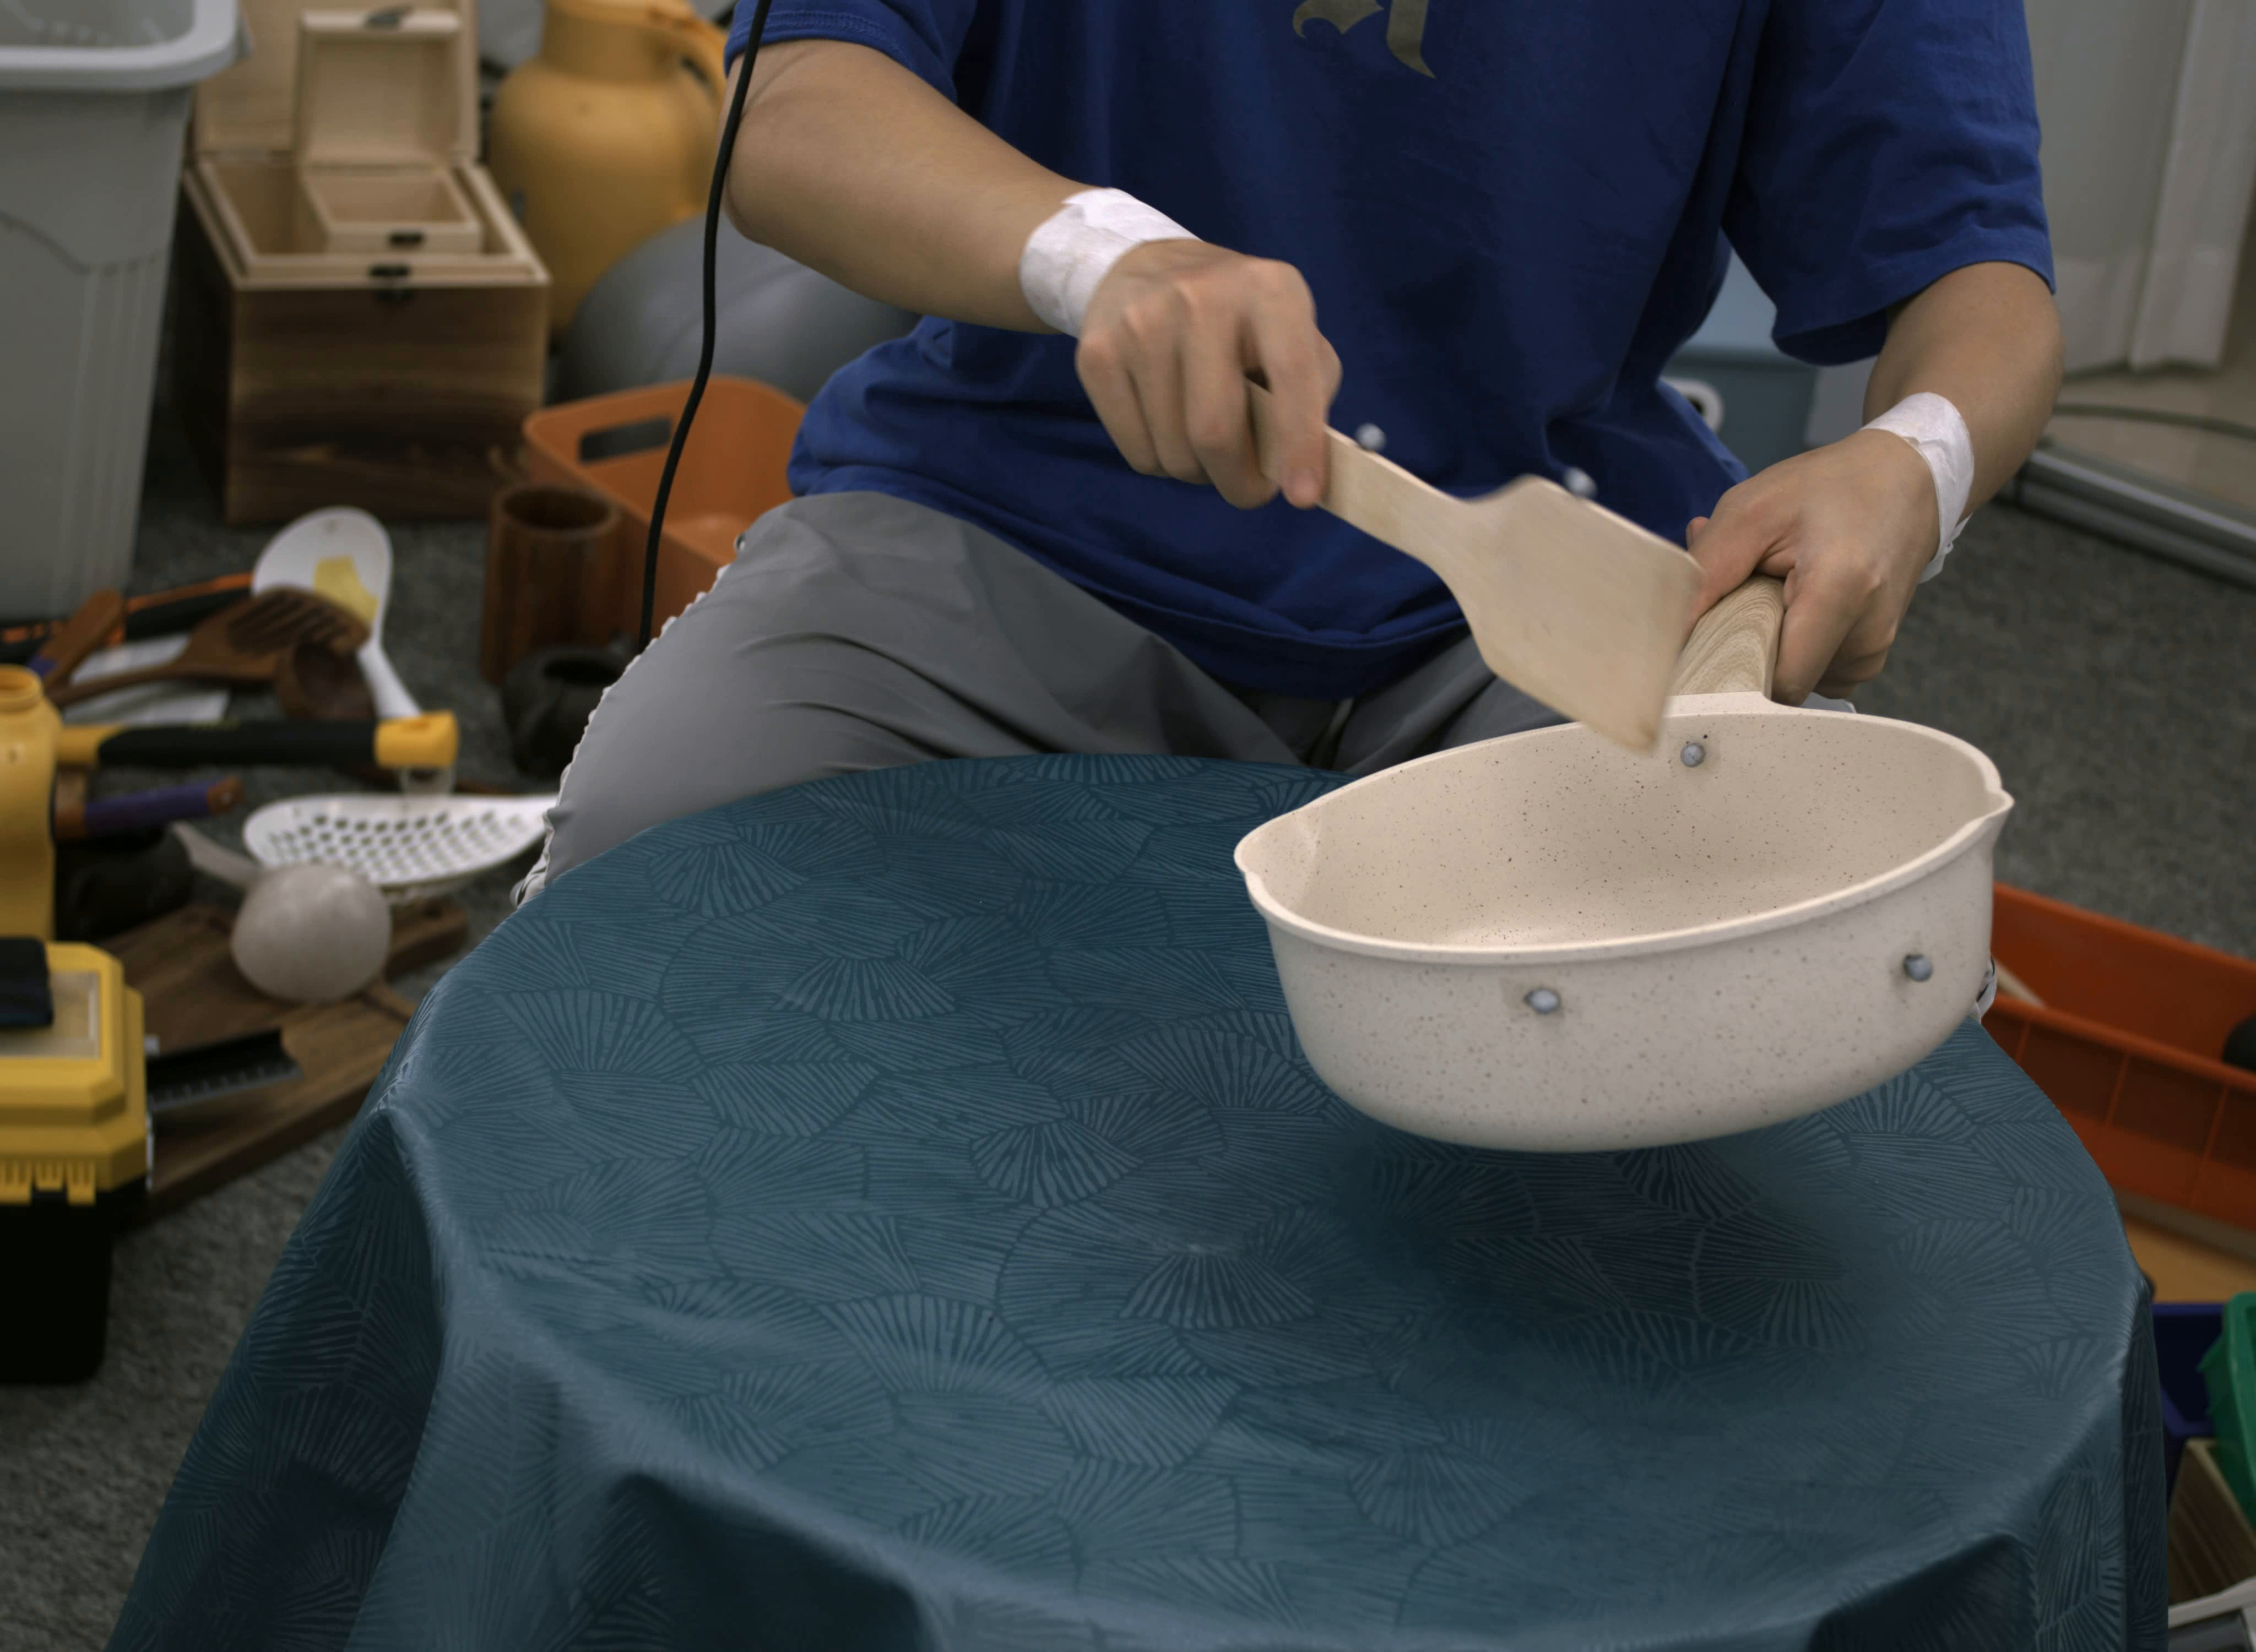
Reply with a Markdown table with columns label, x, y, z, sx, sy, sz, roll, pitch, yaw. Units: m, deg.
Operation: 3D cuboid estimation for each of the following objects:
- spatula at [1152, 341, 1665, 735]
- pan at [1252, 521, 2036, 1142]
| label | x | y | z | sx | sy | sz | roll | pitch | yaw |
| --- | --- | --- | --- | --- | --- | --- | --- | --- | --- |
| spatula | 0.088 | -0.114 | 1.828 | 0.010 | 0.072 | 0.295 | -4 | 23 | -33 |
| pan | 0.199 | -0.002 | 1.849 | 0.263 | 0.102 | 0.435 | -5 | 16 | 18 |
